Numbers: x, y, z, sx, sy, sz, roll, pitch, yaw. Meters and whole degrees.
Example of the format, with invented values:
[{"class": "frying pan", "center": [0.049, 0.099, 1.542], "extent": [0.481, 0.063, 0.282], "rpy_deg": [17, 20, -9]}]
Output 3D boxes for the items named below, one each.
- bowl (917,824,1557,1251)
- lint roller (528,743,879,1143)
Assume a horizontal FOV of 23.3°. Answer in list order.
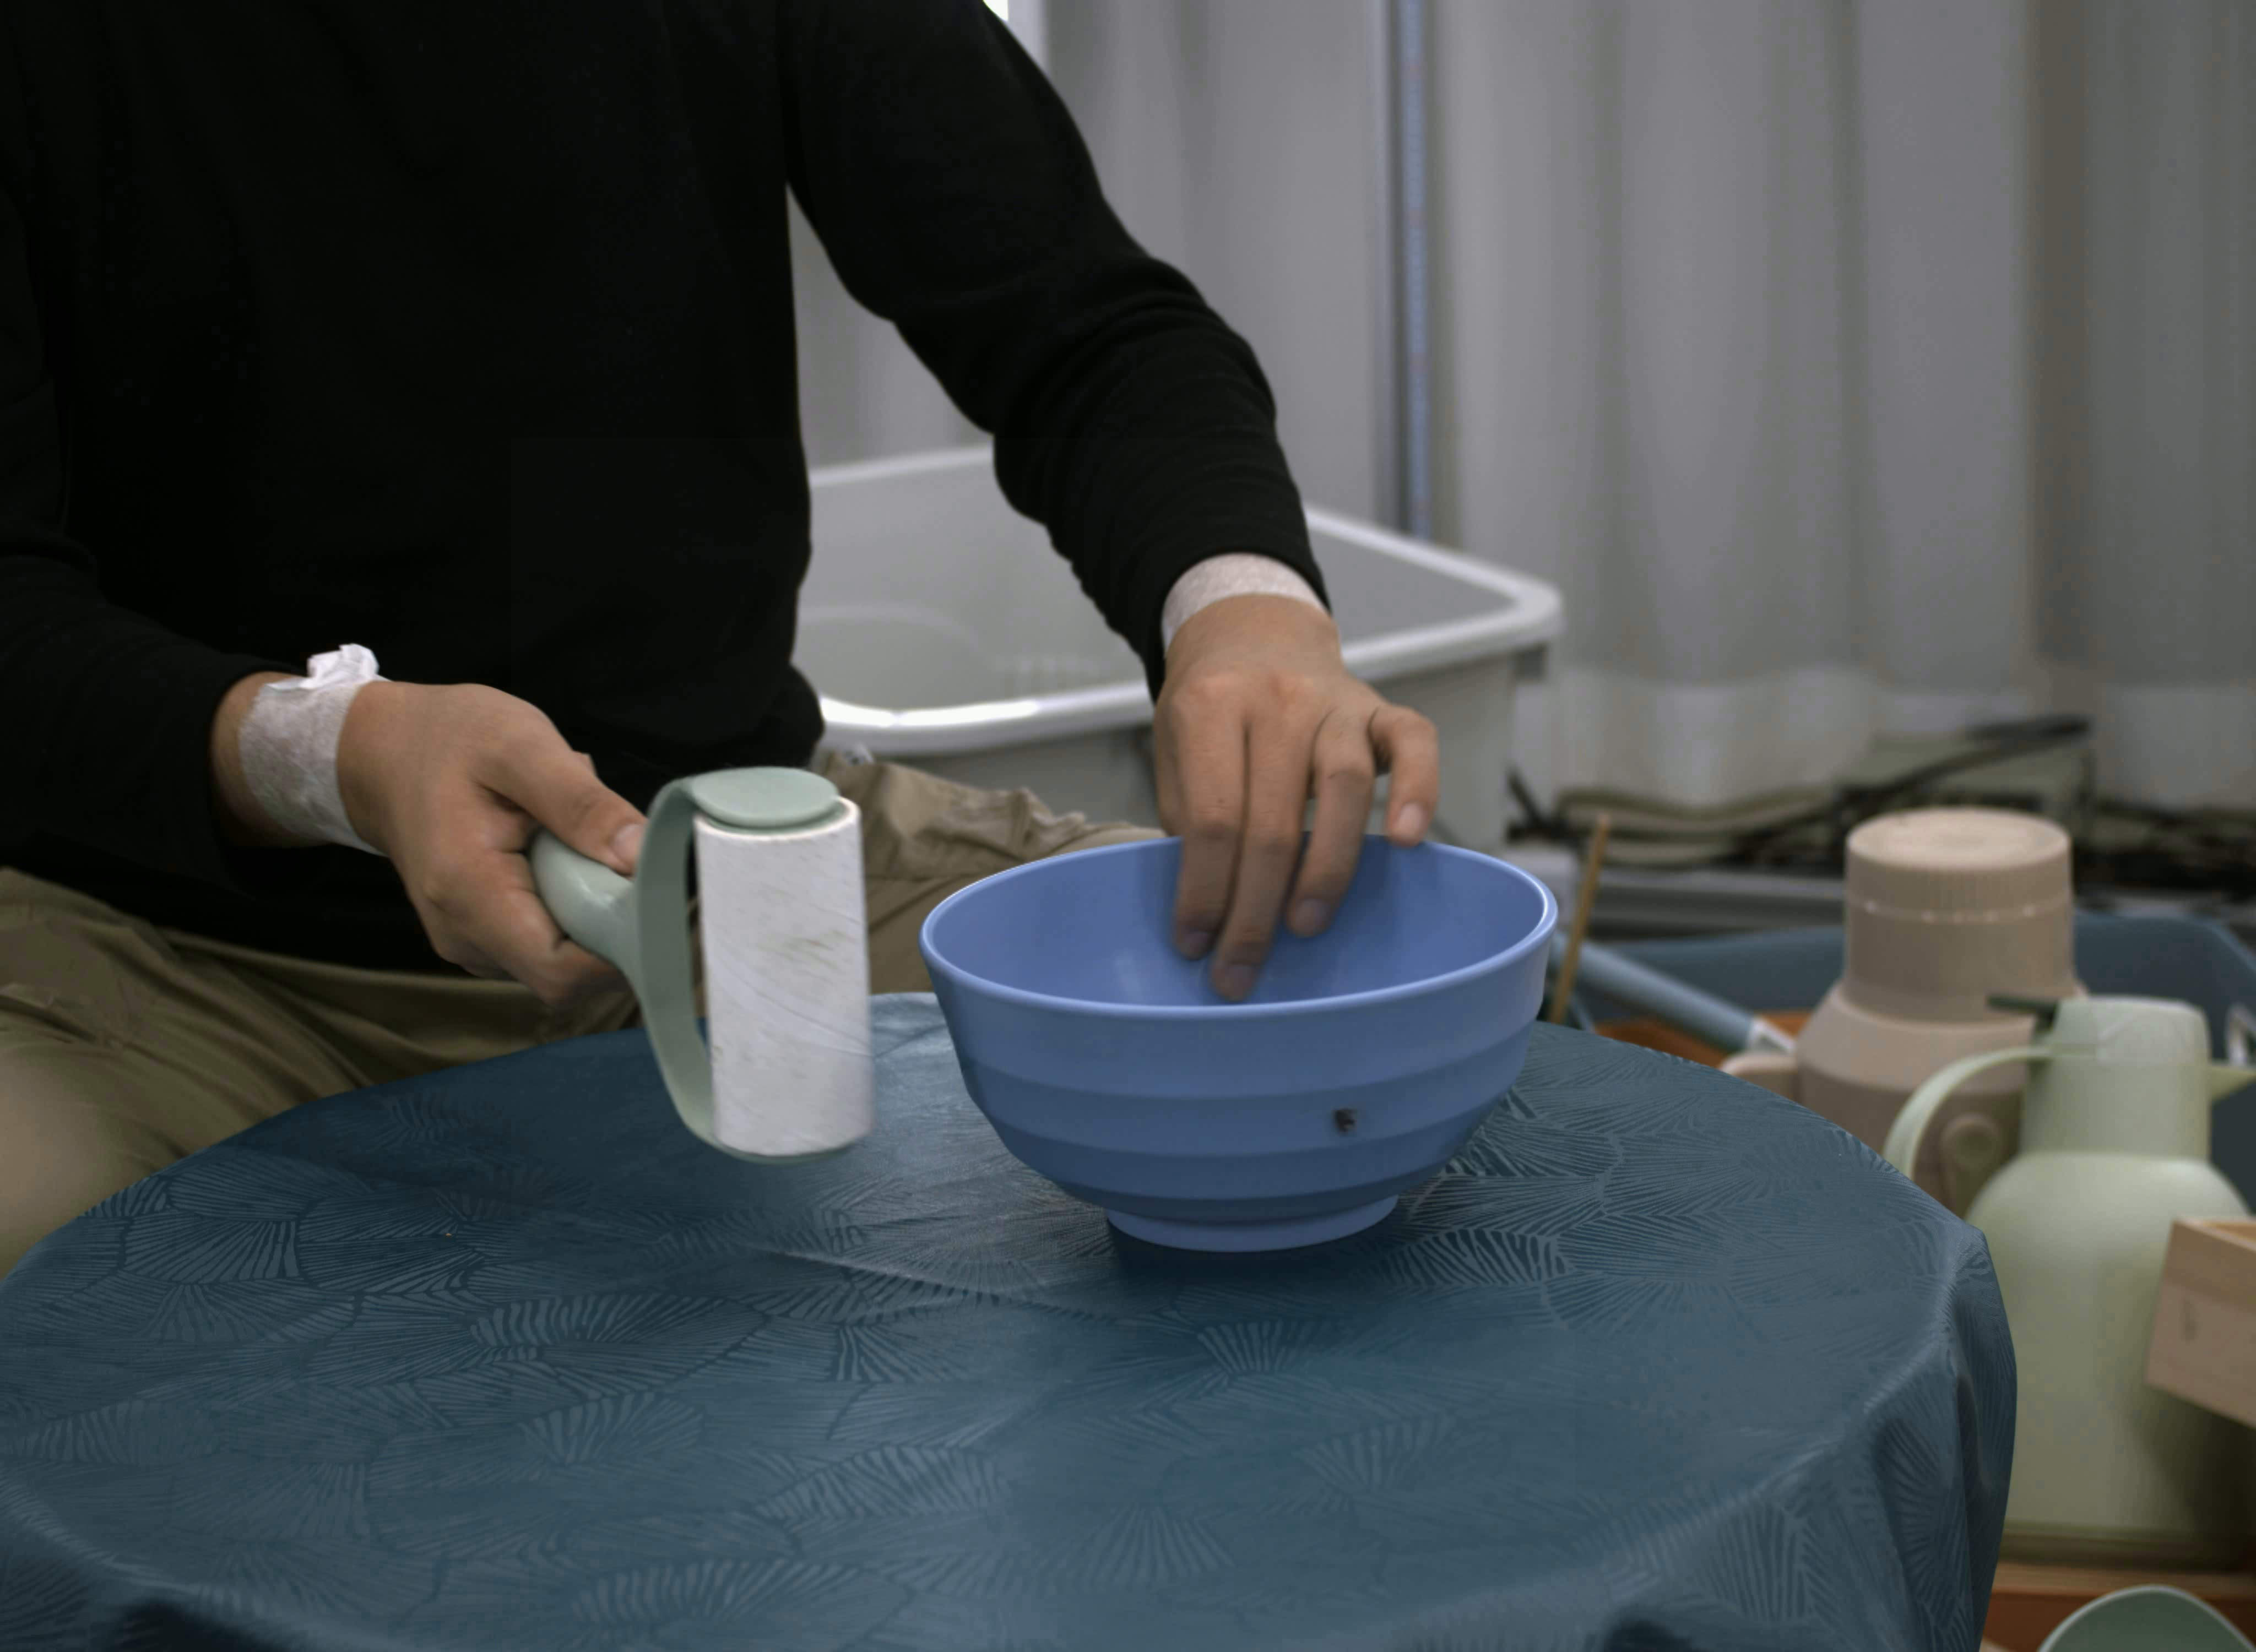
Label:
[{"class": "bowl", "center": [0.036, 0.071, 1.683], "extent": [0.196, 0.095, 0.198], "rpy_deg": [-4, 16, 1]}, {"class": "lint roller", "center": [-0.143, 0.019, 1.674], "extent": [0.048, 0.116, 0.199], "rpy_deg": [-15, 21, -33]}]
